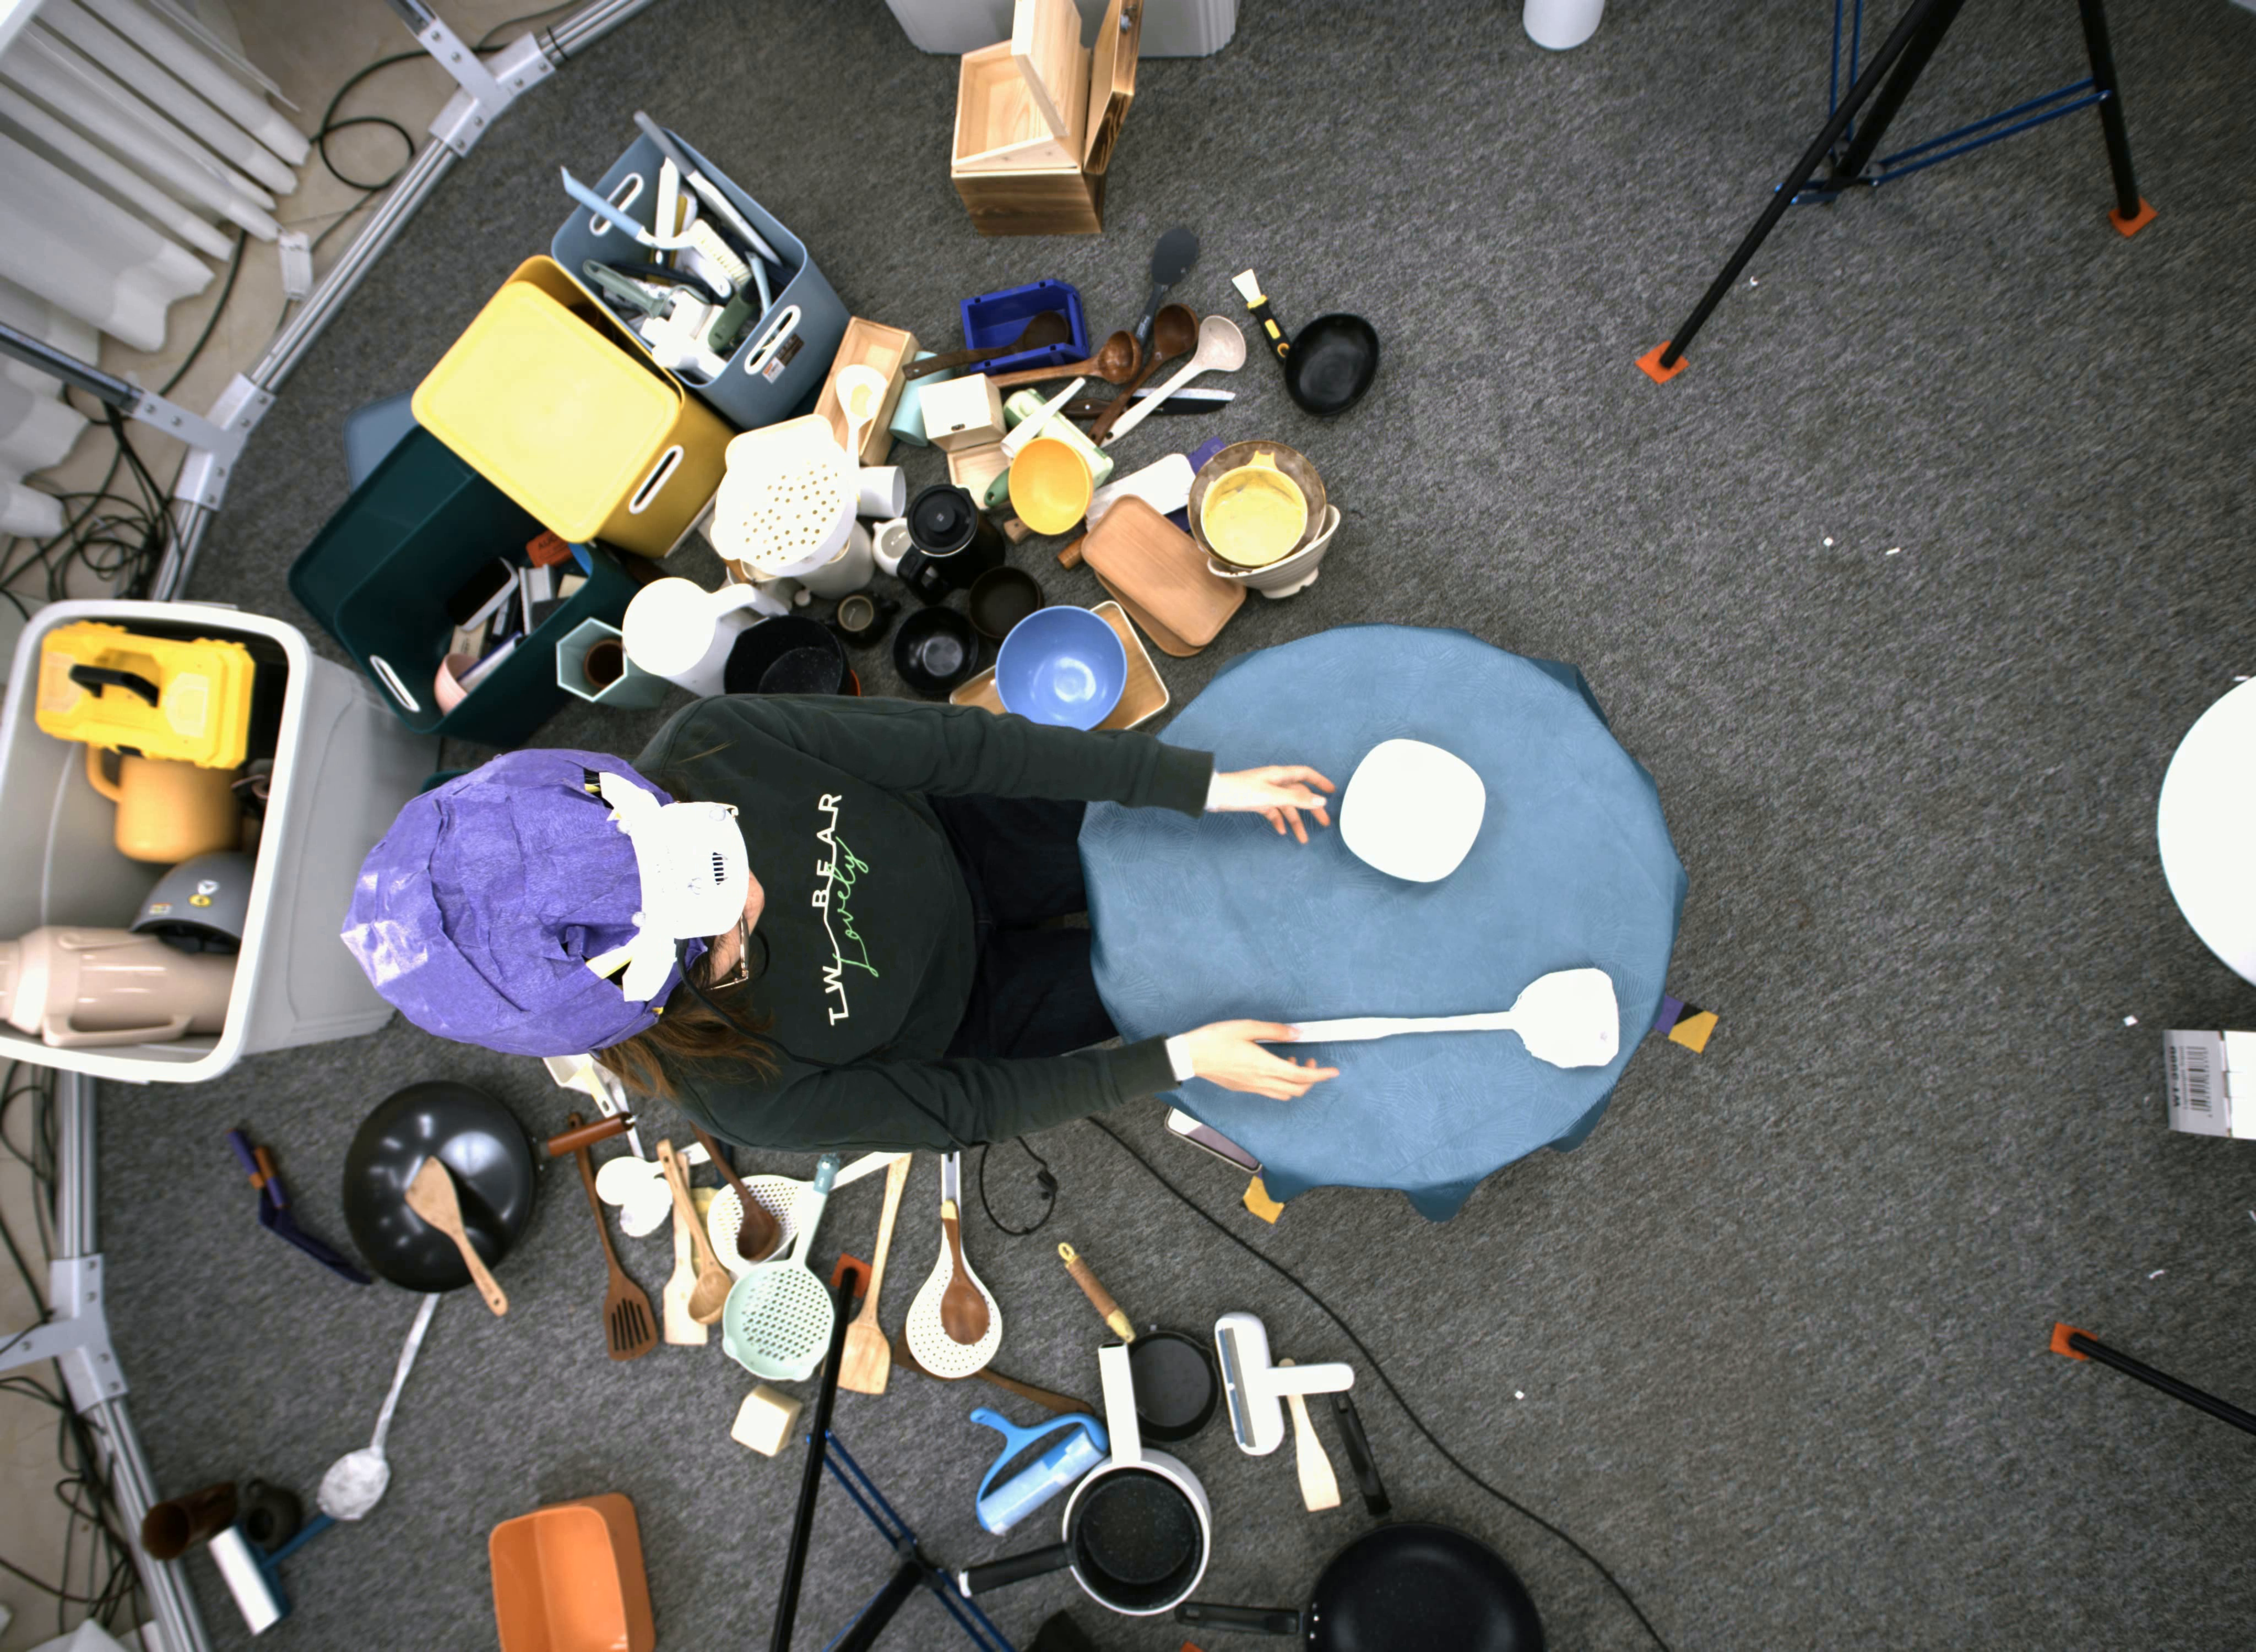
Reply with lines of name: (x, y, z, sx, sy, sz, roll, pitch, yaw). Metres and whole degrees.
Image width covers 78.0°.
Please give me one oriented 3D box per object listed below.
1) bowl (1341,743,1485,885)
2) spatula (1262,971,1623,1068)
bowl: (0.296, -0.011, 1.438, 0.152, 0.059, 0.150, -1, 85, 8)
spatula: (0.319, 0.202, 1.427, 0.366, 0.045, 0.098, -3, 87, 10)
